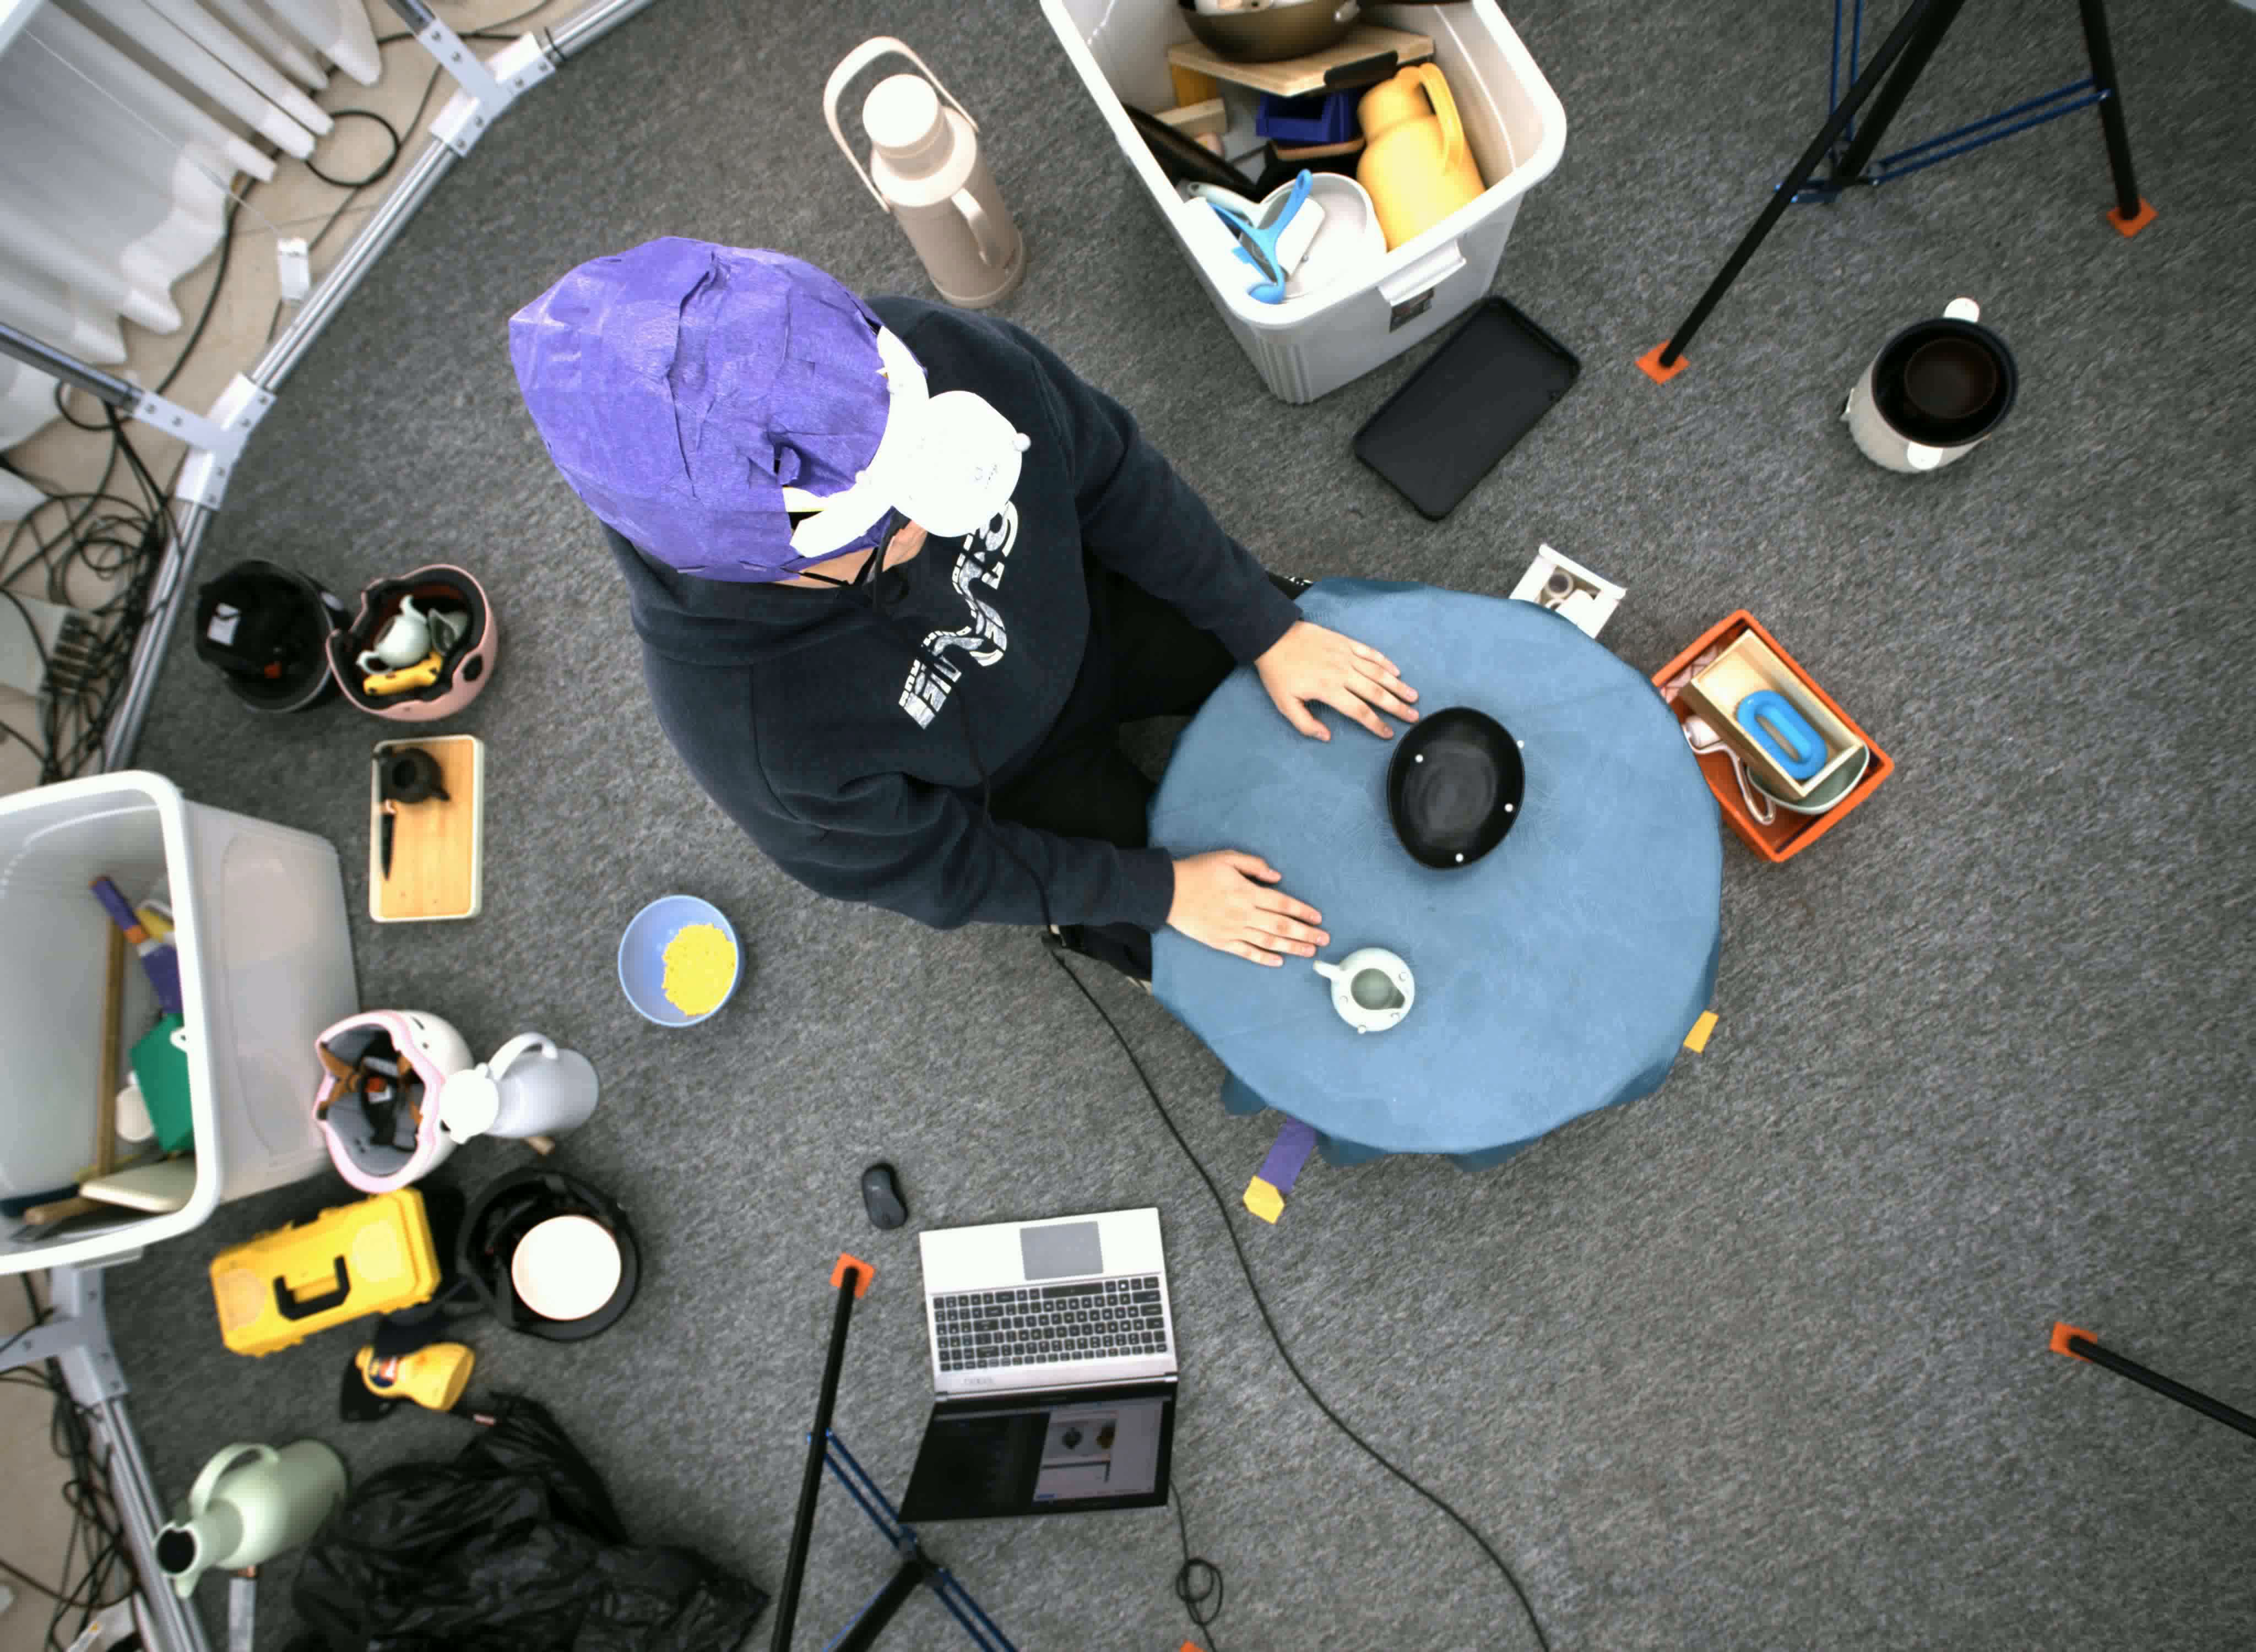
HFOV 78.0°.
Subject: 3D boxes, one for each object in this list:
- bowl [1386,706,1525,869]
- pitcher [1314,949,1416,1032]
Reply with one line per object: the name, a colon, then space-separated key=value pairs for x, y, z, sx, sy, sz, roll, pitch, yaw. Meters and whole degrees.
bowl: x=0.337 y=-0.039 z=1.423 sx=0.137 sy=0.066 sz=0.170 roll=12 pitch=89 yaw=12
pitcher: x=0.244 y=0.164 z=1.432 sx=0.108 sy=0.060 sz=0.086 roll=21 pitch=89 yaw=13
